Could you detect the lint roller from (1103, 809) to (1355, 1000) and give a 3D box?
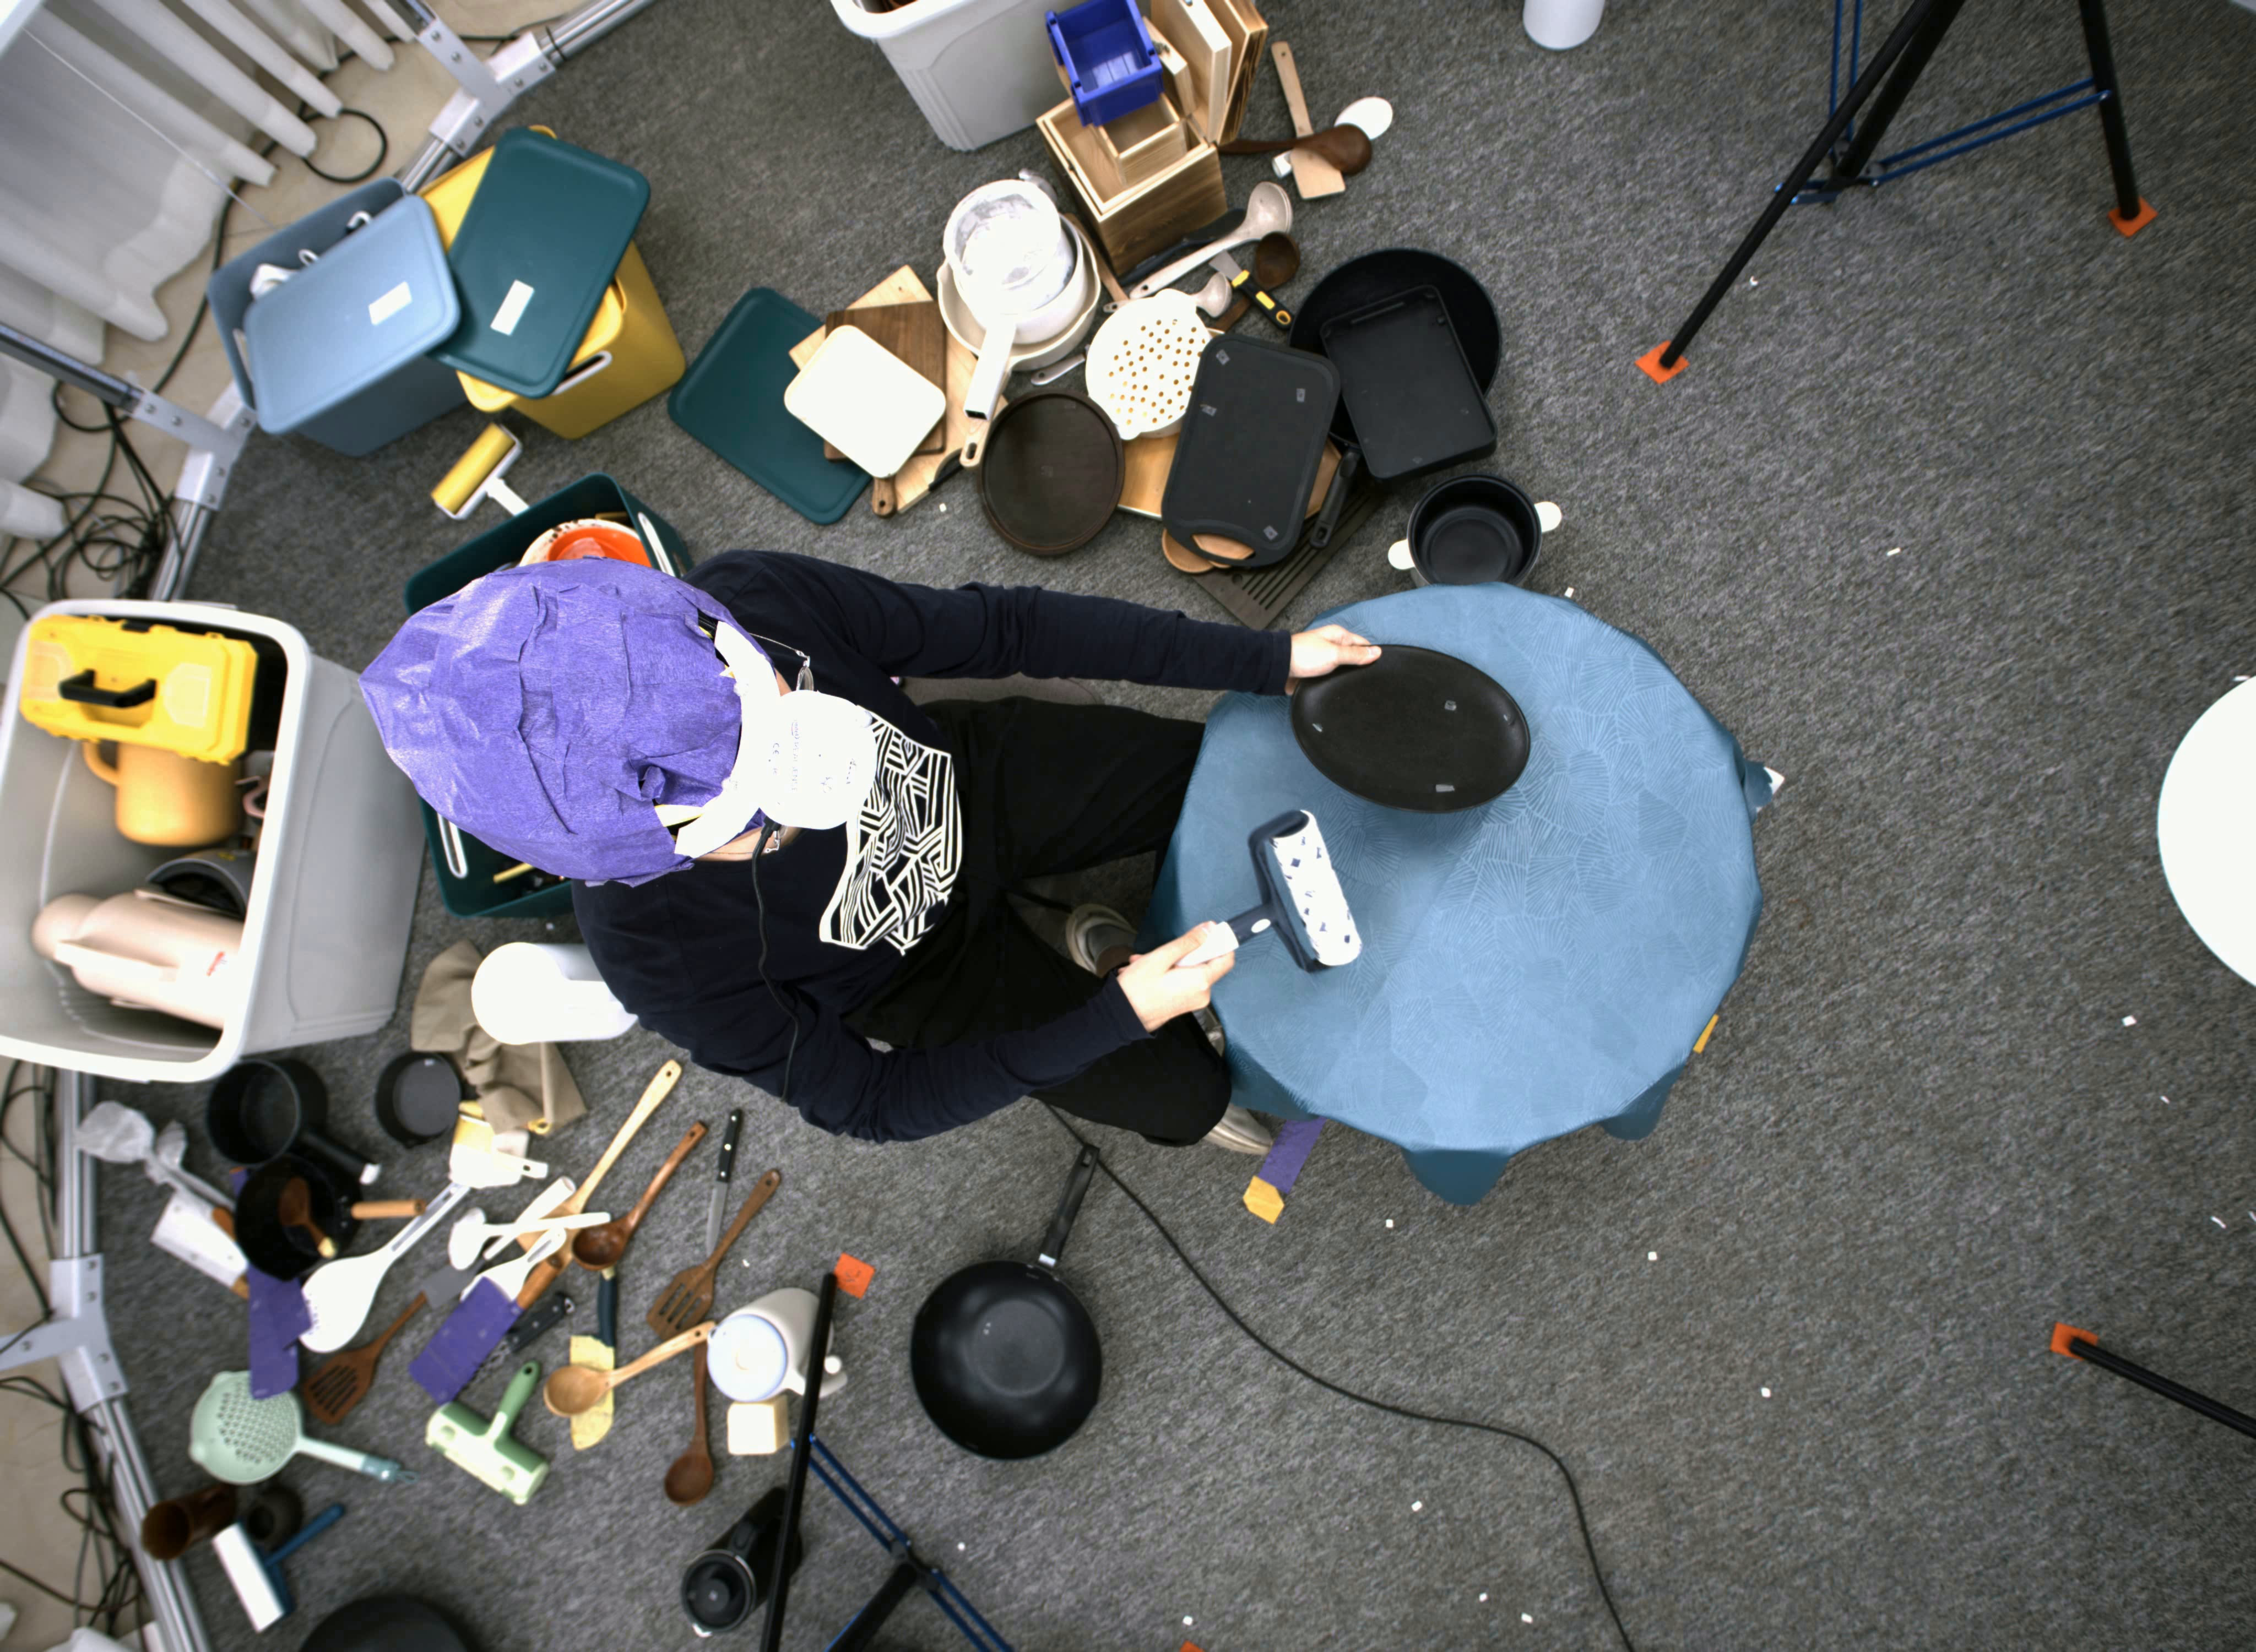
[{"bbox_3d":[0.091,0.109,1.347,0.247,0.049,0.179,-29,122,-3],"label":"lint roller"}]

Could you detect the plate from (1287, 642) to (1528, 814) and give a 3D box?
[{"bbox_3d":[0.280,-0.099,1.386,0.244,0.024,0.238,1,51,-2],"label":"plate"}]
